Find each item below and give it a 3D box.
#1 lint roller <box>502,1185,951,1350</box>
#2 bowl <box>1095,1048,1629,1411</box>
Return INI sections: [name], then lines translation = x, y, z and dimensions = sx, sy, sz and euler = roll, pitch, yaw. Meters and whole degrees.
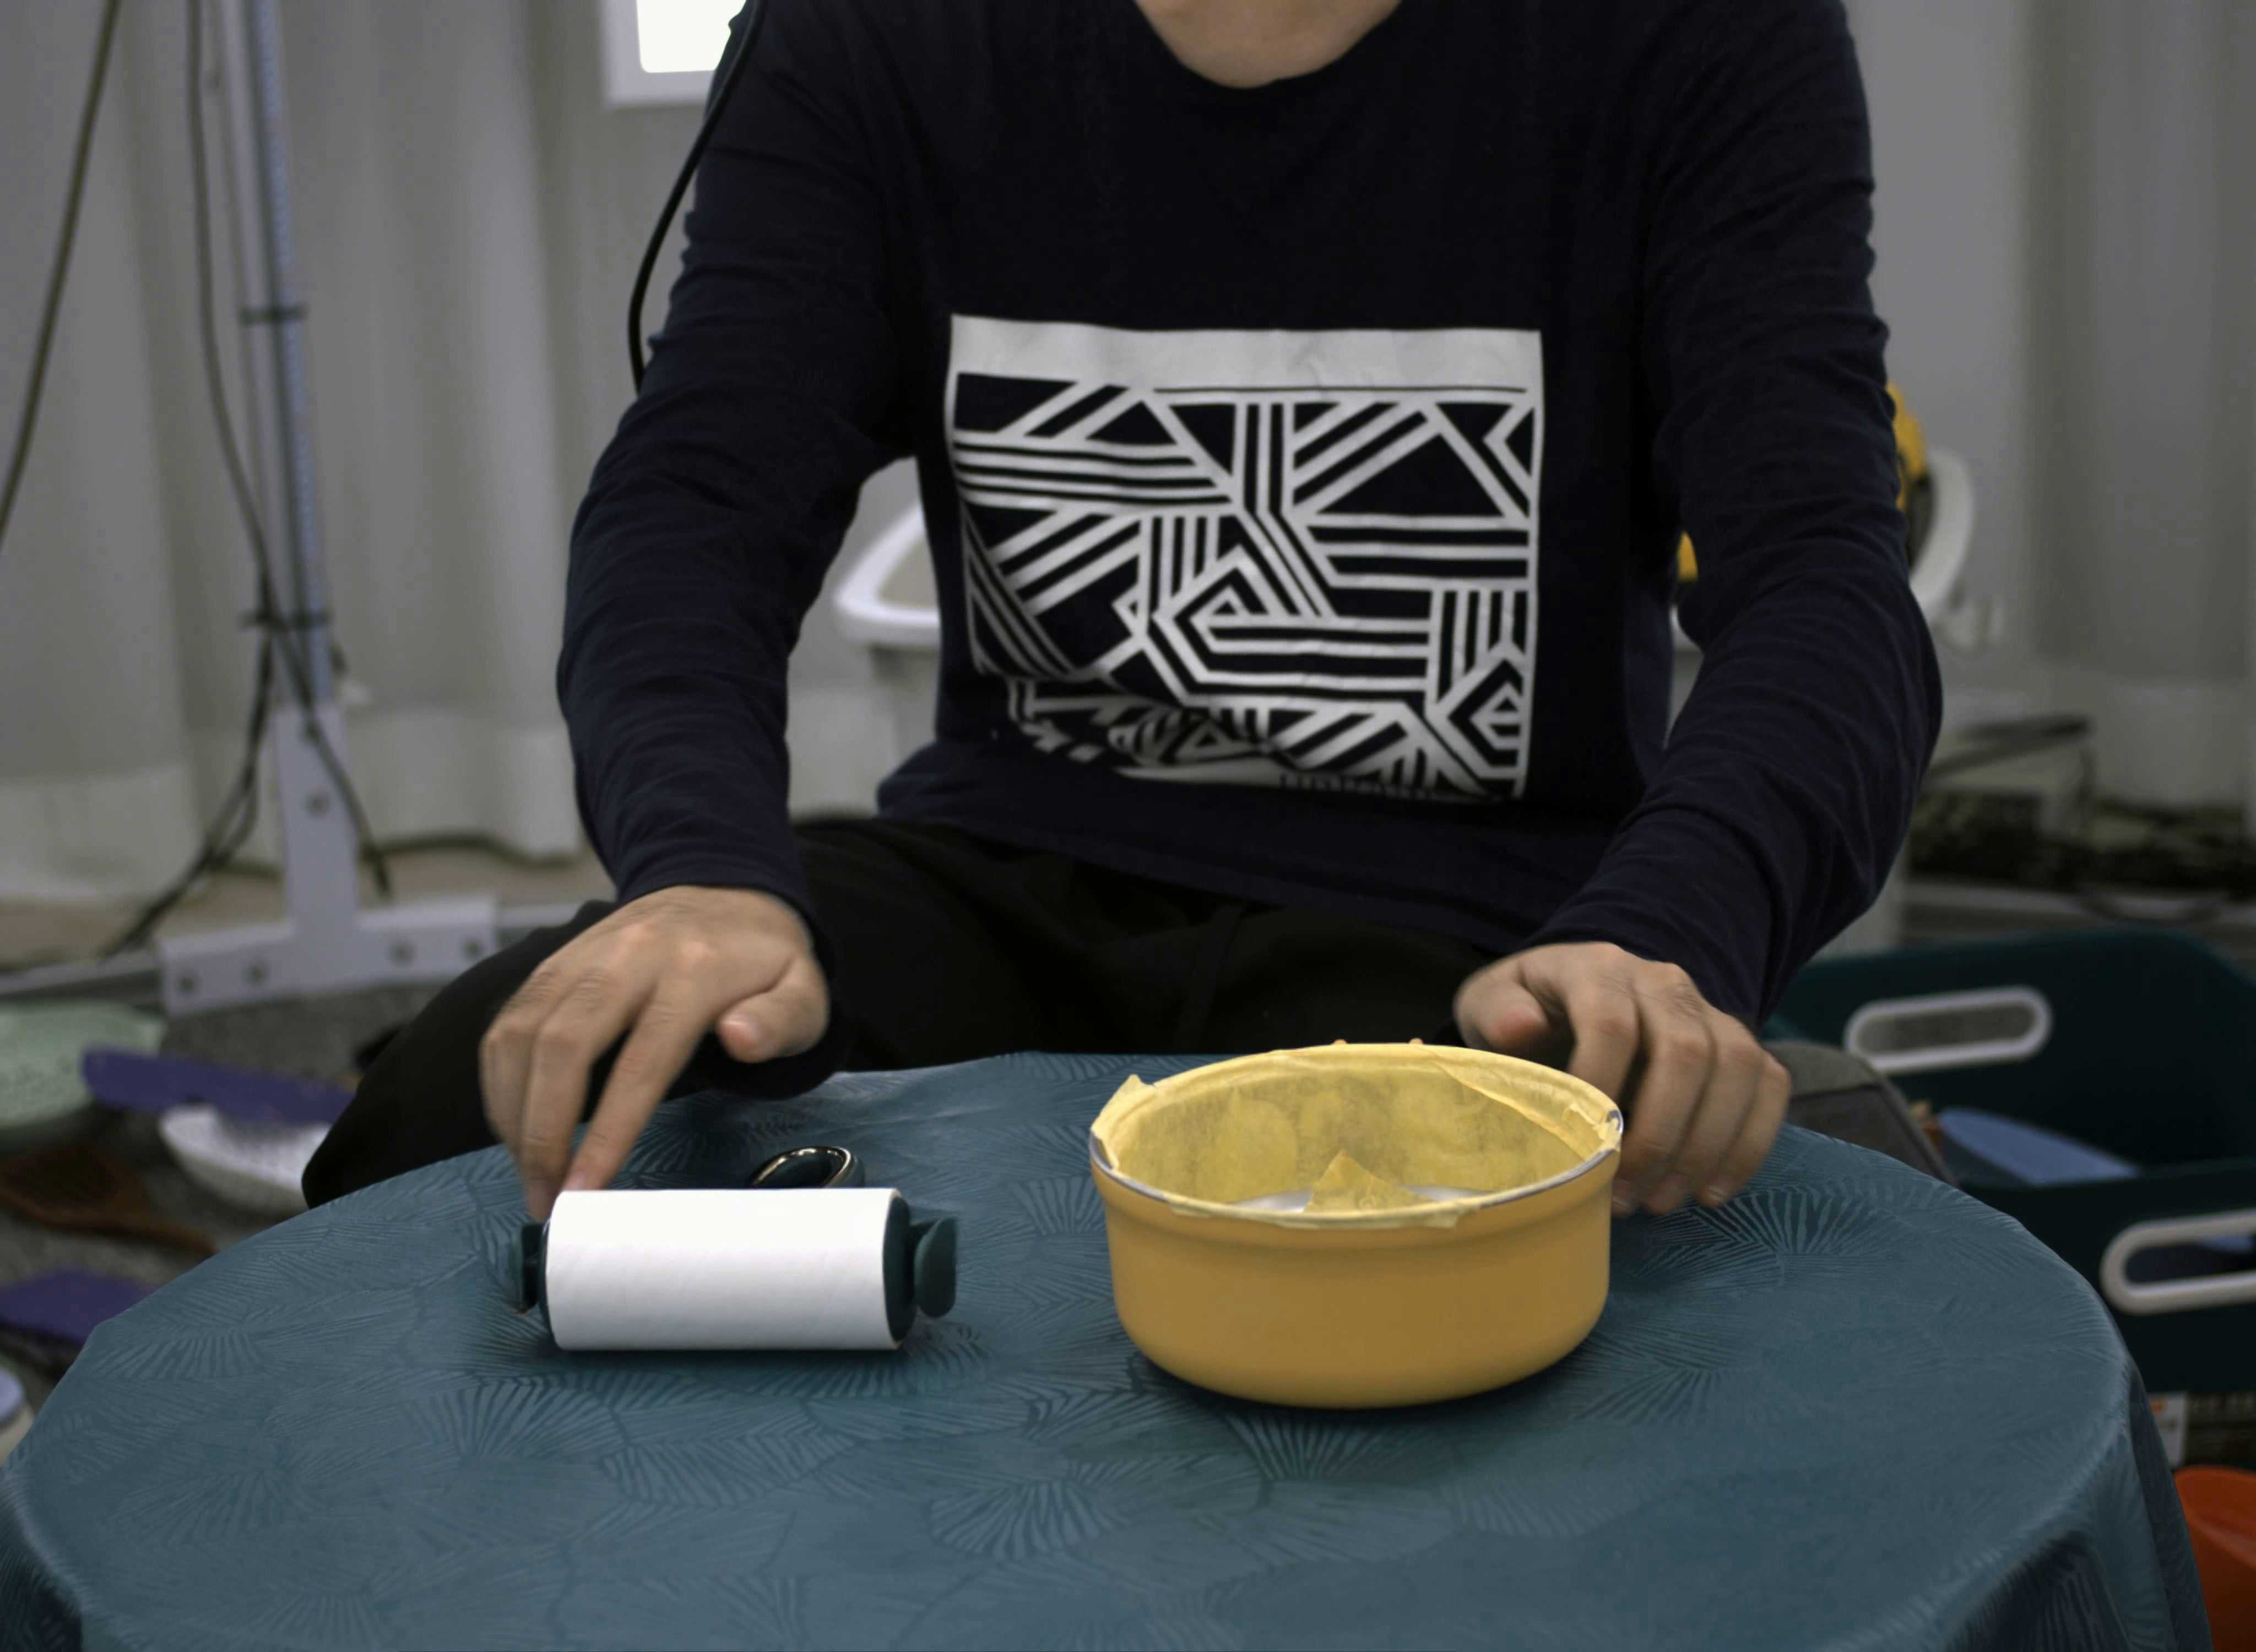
[lint roller]
translation = -0.109, 0.117, 1.657
dimensions = 0.134, 0.048, 0.181
euler = -1, 11, 7
[bowl]
translation = 0.069, 0.114, 1.577
dimensions = 0.152, 0.074, 0.180
euler = -4, 15, 2
